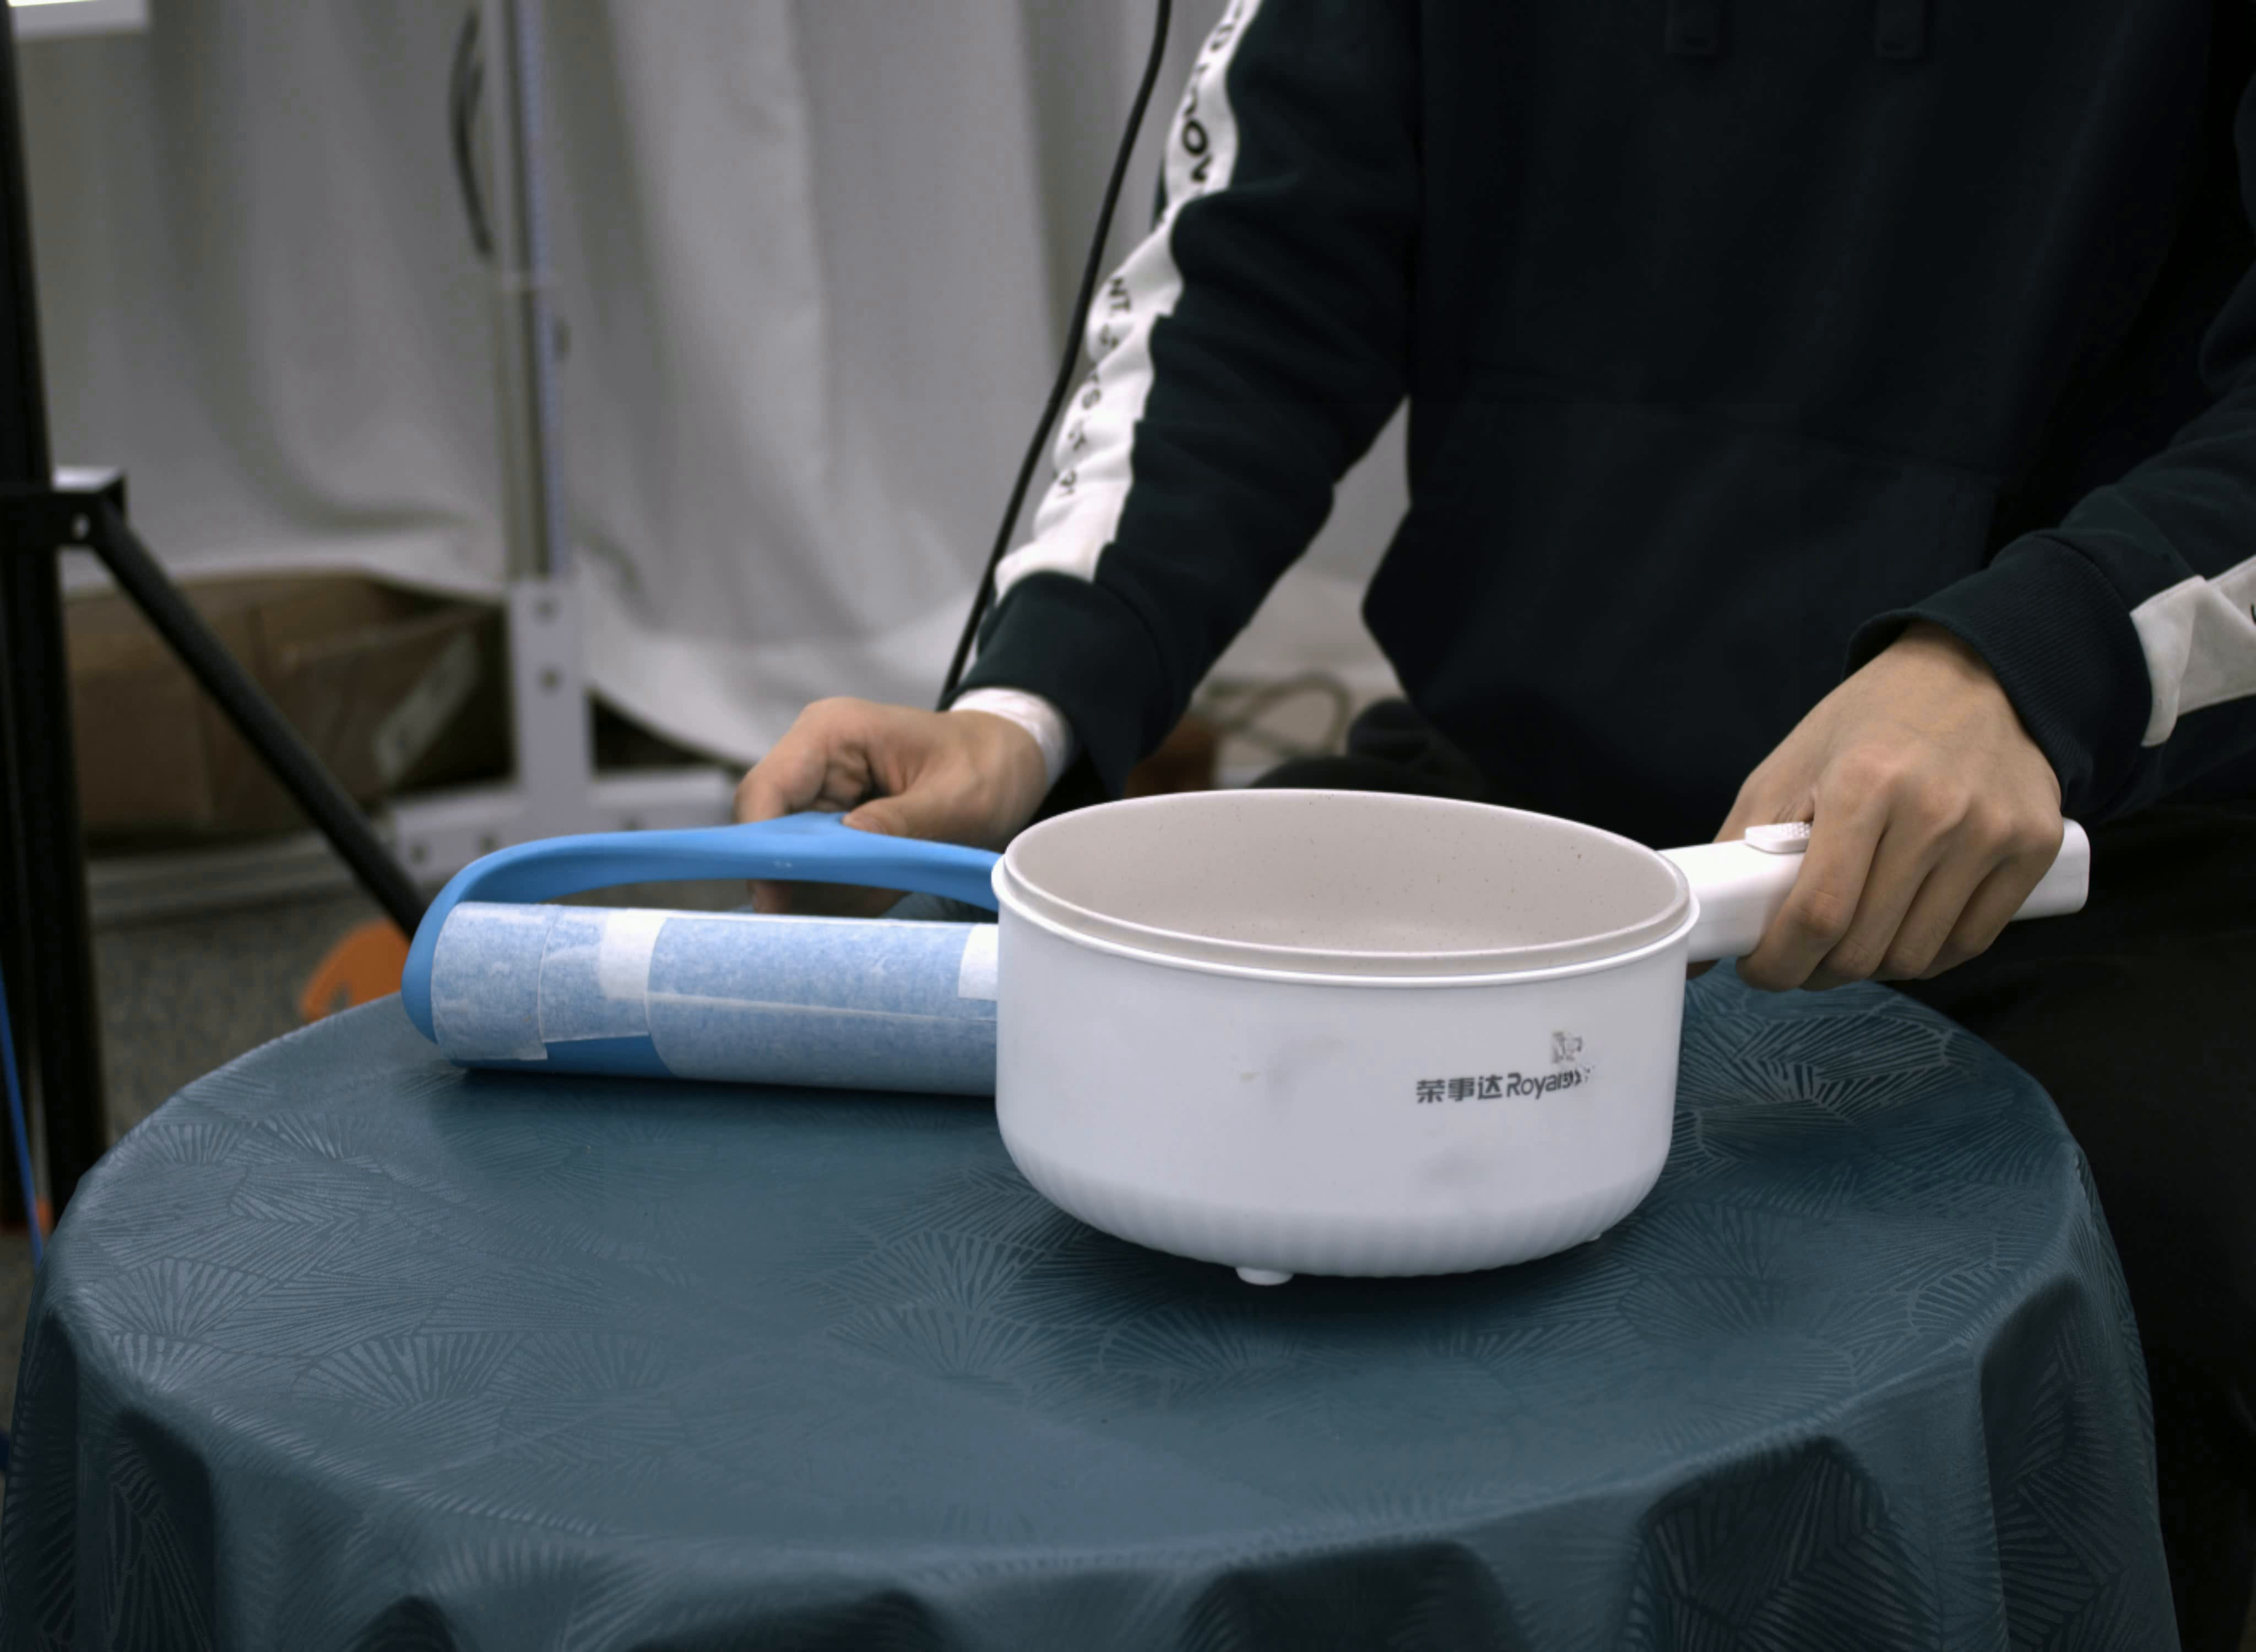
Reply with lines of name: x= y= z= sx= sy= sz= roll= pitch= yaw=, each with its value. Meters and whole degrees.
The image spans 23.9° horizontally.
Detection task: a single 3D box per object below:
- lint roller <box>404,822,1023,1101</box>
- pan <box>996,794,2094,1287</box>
lint roller: x=-0.106 y=0.030 z=1.719 sx=0.230 sy=0.067 sz=0.179 roll=-1 pitch=24 yaw=14
pan: x=0.127 y=0.057 z=1.544 sx=0.347 sy=0.102 sz=0.205 roll=-4 pitch=14 yaw=-27
